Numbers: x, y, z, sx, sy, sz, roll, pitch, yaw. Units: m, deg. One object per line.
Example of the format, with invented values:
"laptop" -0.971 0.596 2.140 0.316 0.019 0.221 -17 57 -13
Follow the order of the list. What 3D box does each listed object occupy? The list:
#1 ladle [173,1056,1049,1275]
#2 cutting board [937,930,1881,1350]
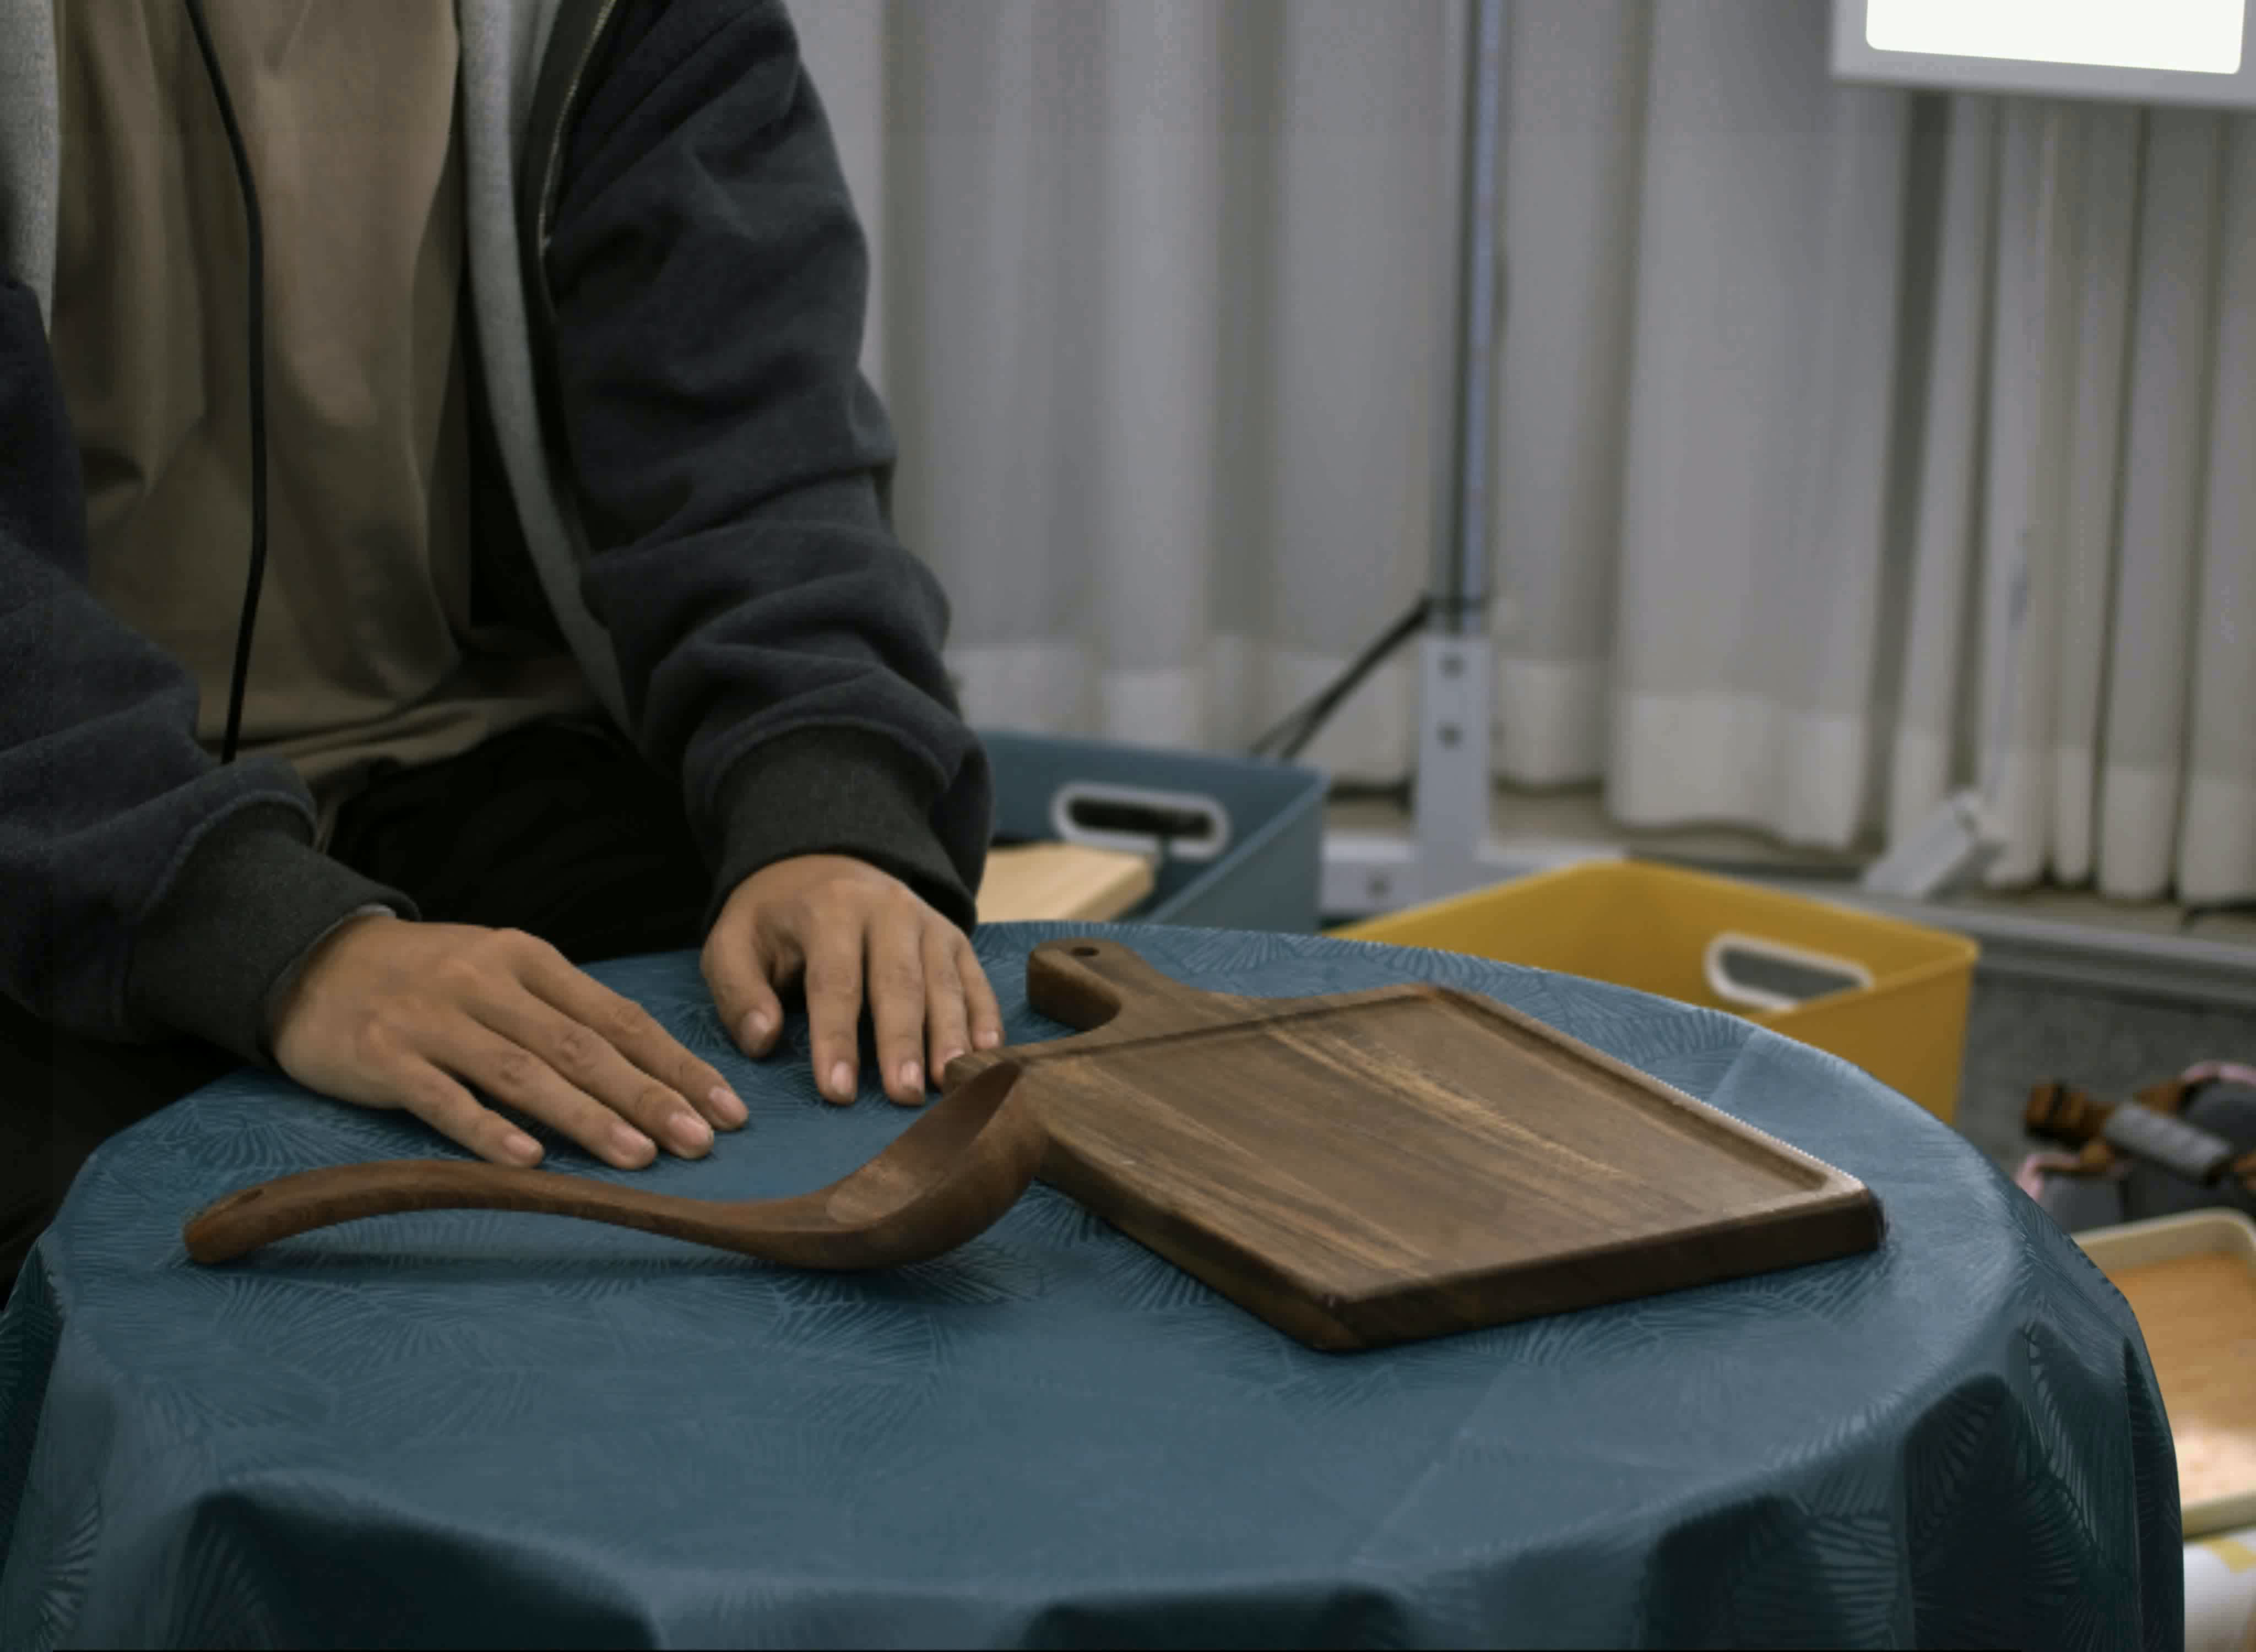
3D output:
"ladle" -0.152 0.098 1.546 0.259 0.065 0.076 1 12 2
"cutting board" 0.059 0.088 1.670 0.202 0.023 0.347 -7 17 -29
